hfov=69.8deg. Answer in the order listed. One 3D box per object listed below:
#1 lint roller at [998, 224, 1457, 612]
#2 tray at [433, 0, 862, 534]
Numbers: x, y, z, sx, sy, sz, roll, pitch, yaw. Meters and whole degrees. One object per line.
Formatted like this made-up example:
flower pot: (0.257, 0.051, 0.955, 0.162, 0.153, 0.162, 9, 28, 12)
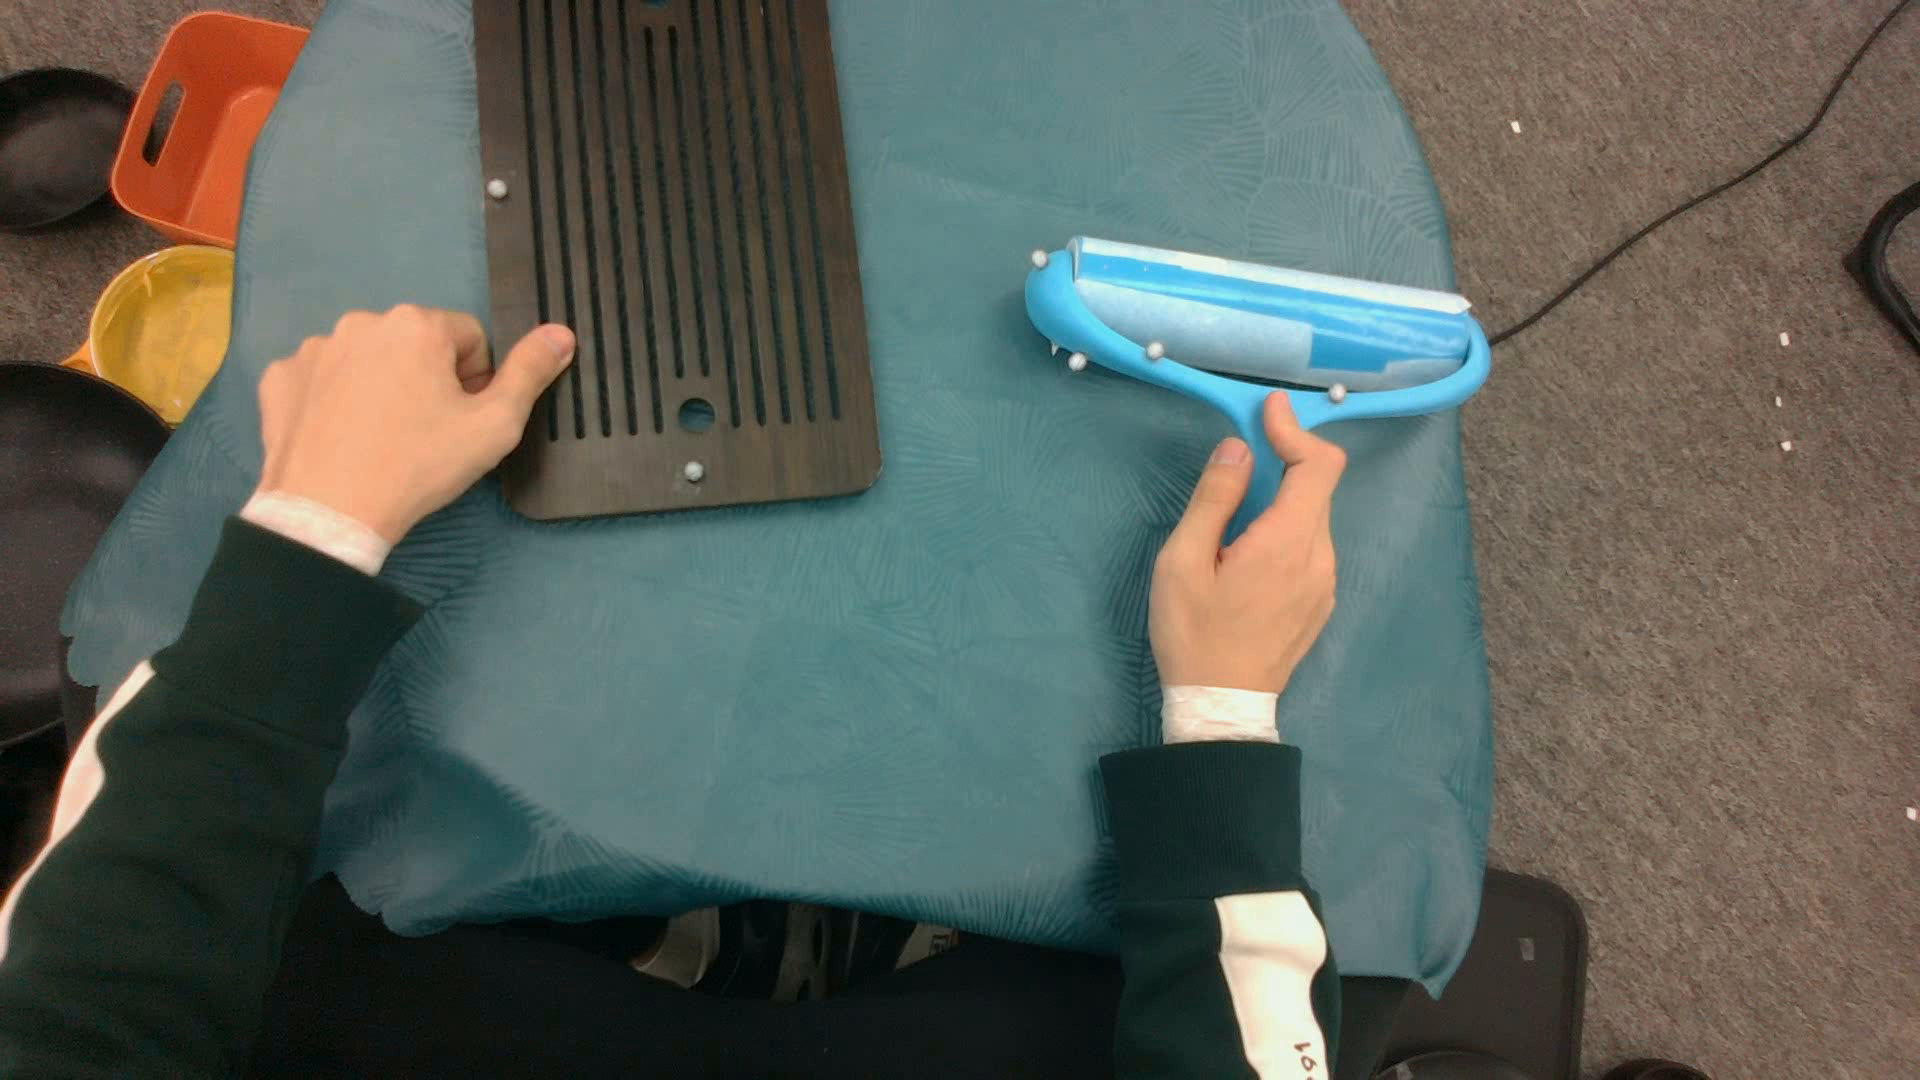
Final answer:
lint roller: (0.131, -0.060, 0.659, 0.229, 0.067, 0.180, 3, 75, -10)
tray: (-0.153, -0.158, 0.660, 0.170, 0.018, 0.306, -8, 78, -11)
